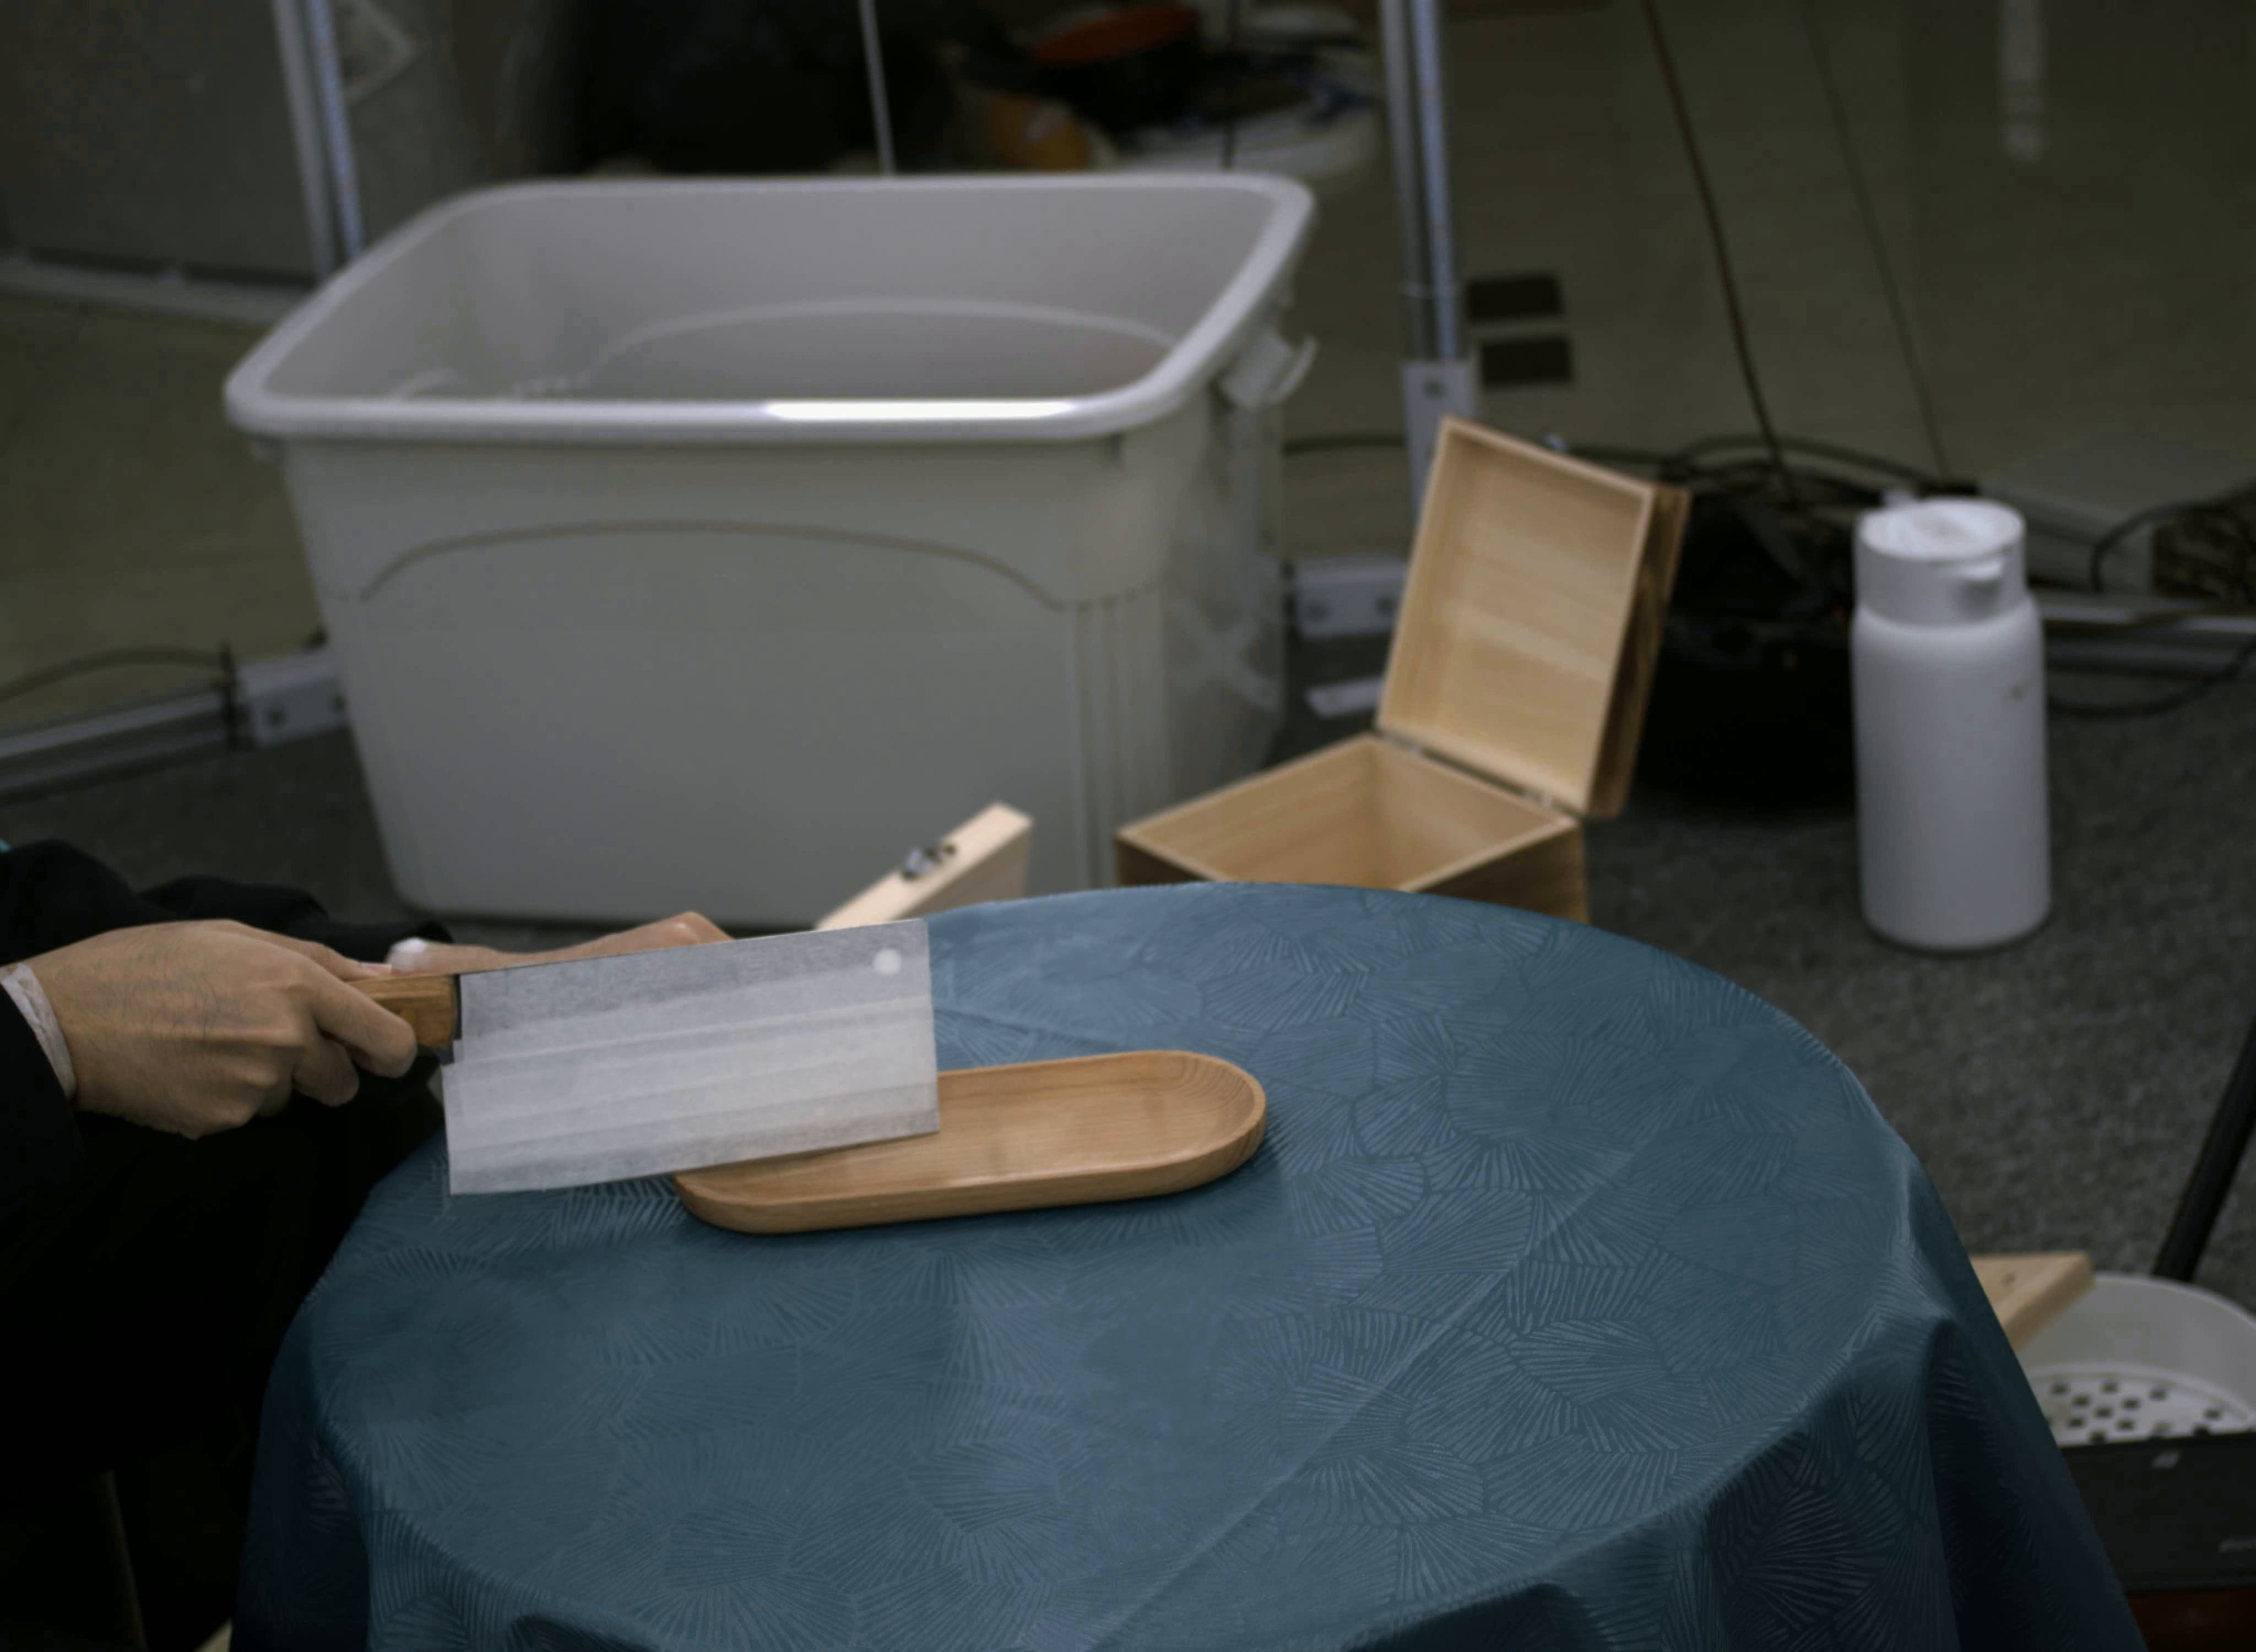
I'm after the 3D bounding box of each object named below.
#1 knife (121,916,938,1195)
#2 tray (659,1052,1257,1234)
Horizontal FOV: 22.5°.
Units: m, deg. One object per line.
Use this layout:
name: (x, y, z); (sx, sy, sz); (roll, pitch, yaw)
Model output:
knife: (-0.222, 0.092, 2.137); (0.305, 0.094, 0.021); (-7, 21, -11)
tray: (-0.065, 0.122, 2.178); (0.231, 0.020, 0.100); (-7, 23, 2)
